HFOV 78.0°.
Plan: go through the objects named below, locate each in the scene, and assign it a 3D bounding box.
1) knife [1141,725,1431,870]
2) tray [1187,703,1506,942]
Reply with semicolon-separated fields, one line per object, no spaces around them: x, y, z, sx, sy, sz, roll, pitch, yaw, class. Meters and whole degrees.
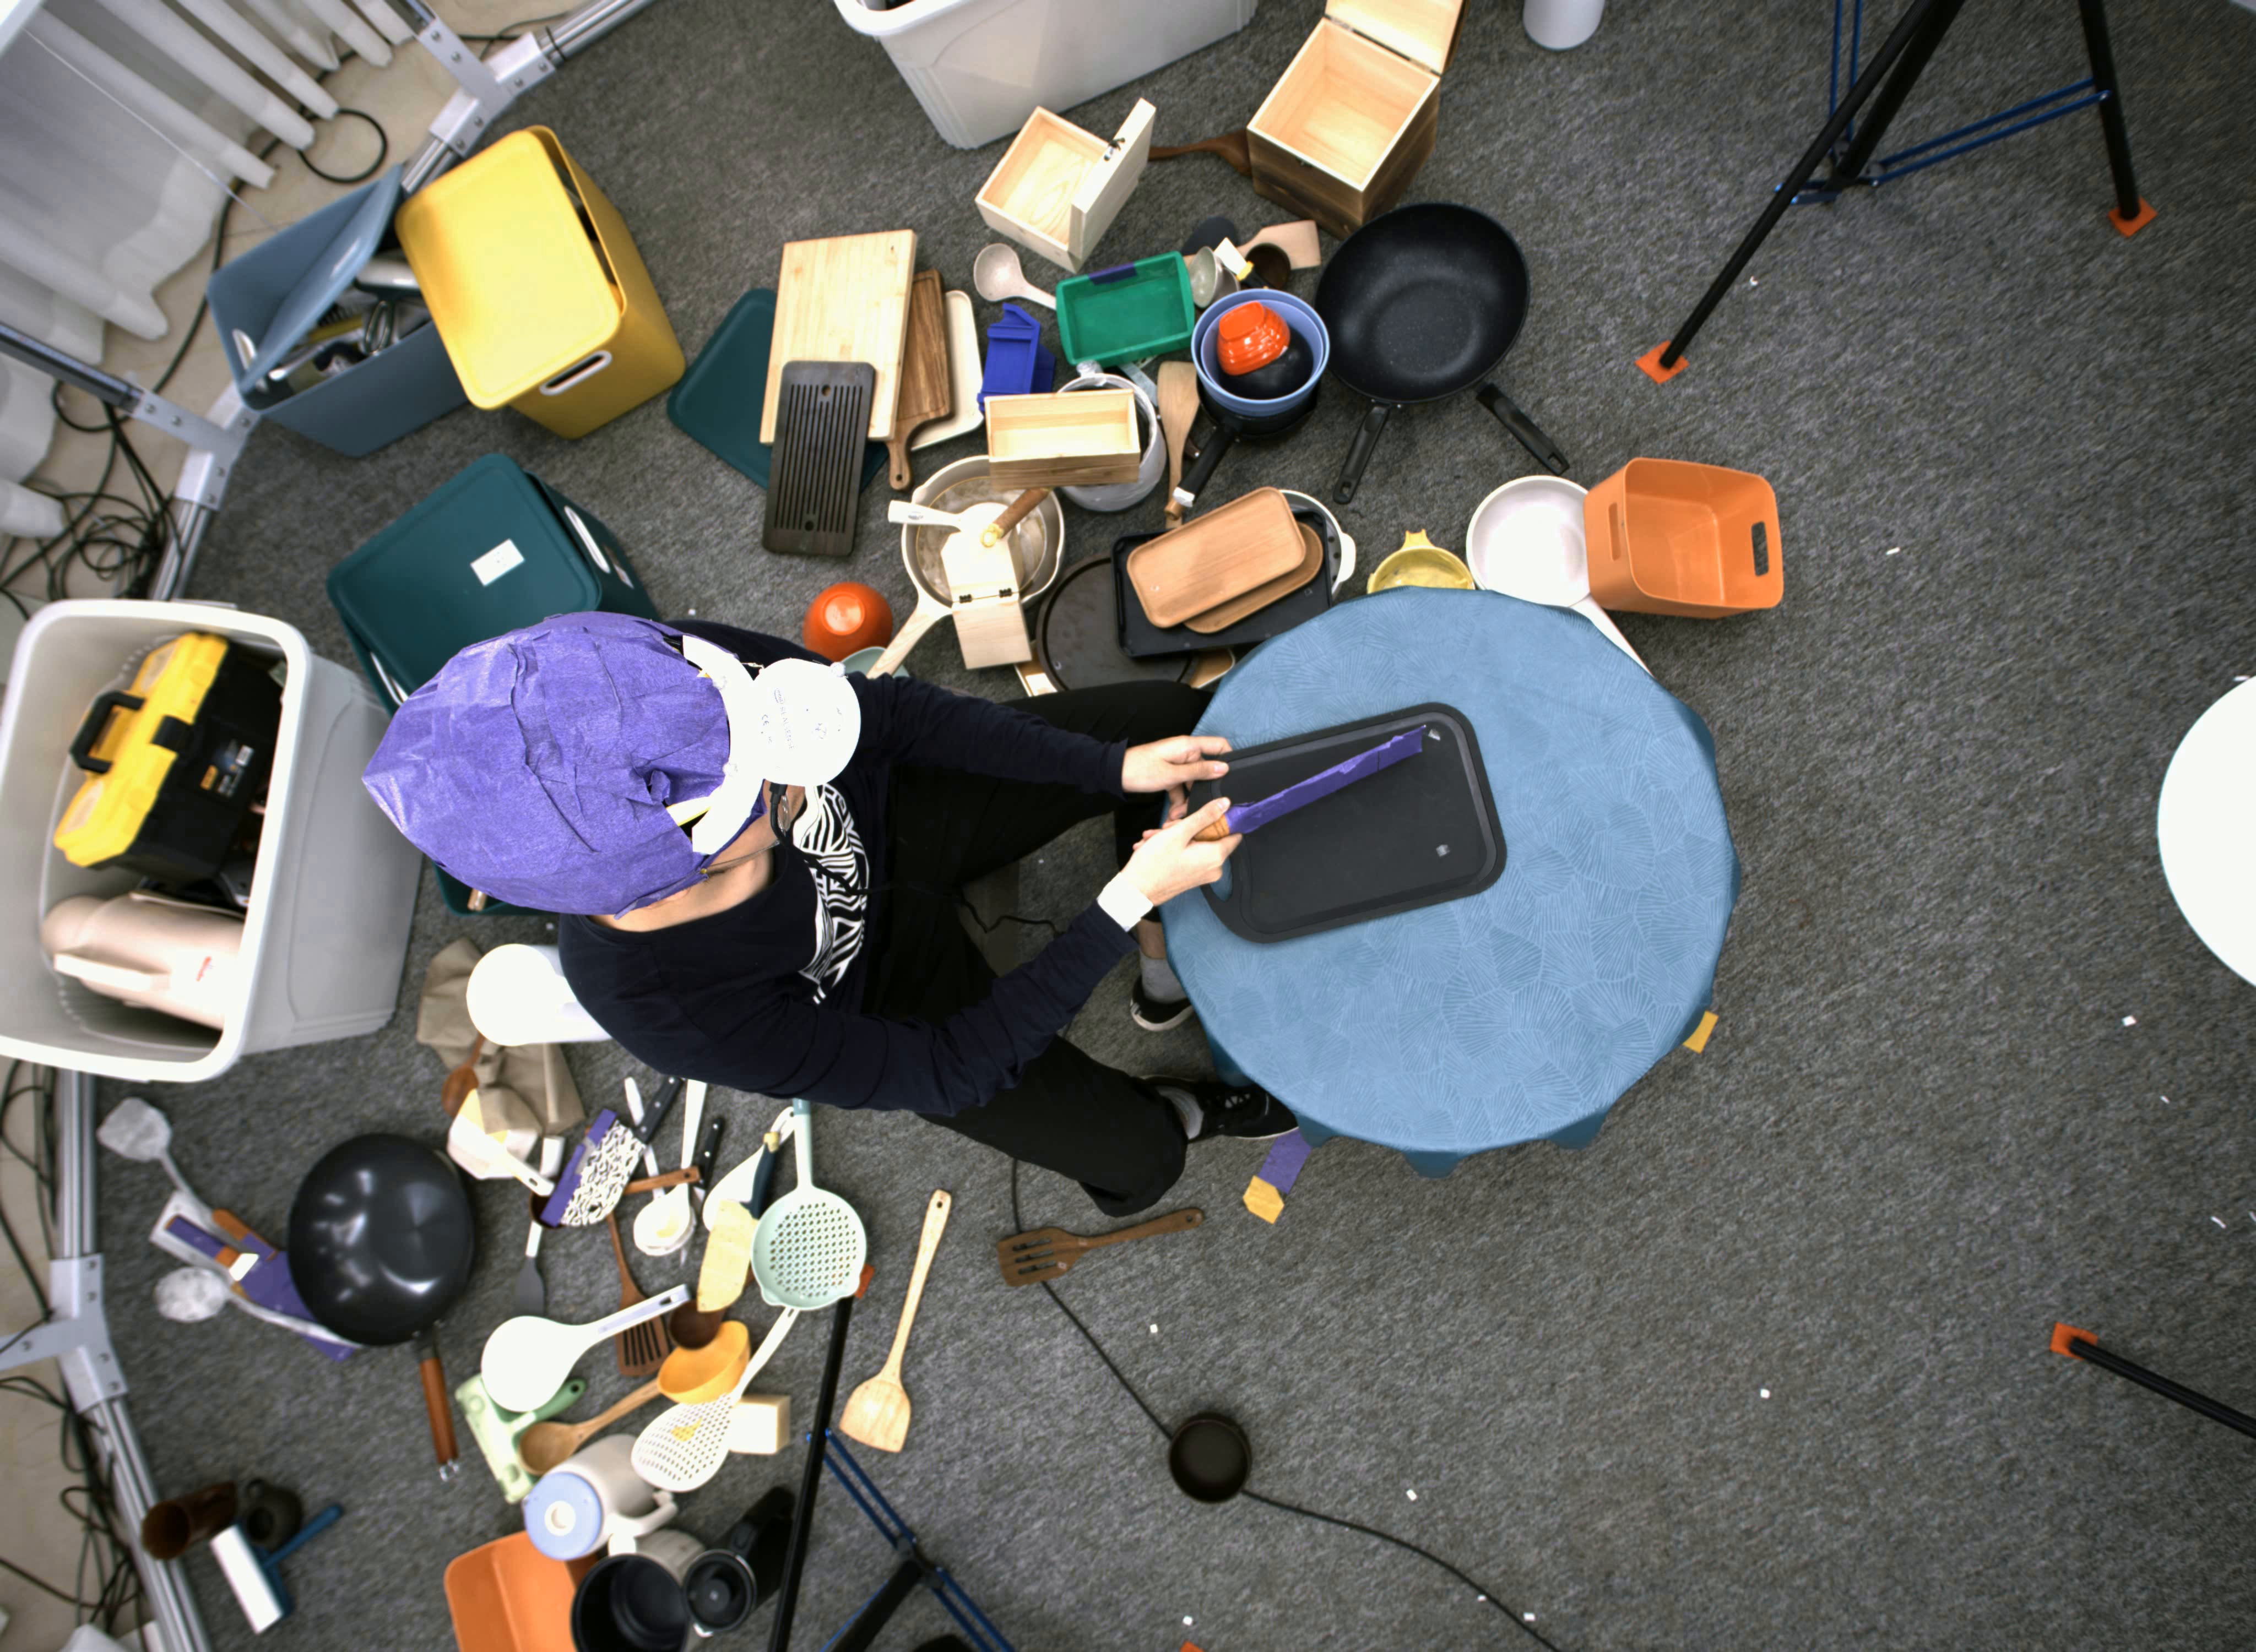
0.167;-0.023;1.419;0.316;0.105;0.032;-23;73;4;knife
0.225;-0.002;1.461;0.326;0.010;0.210;-14;84;6;tray
